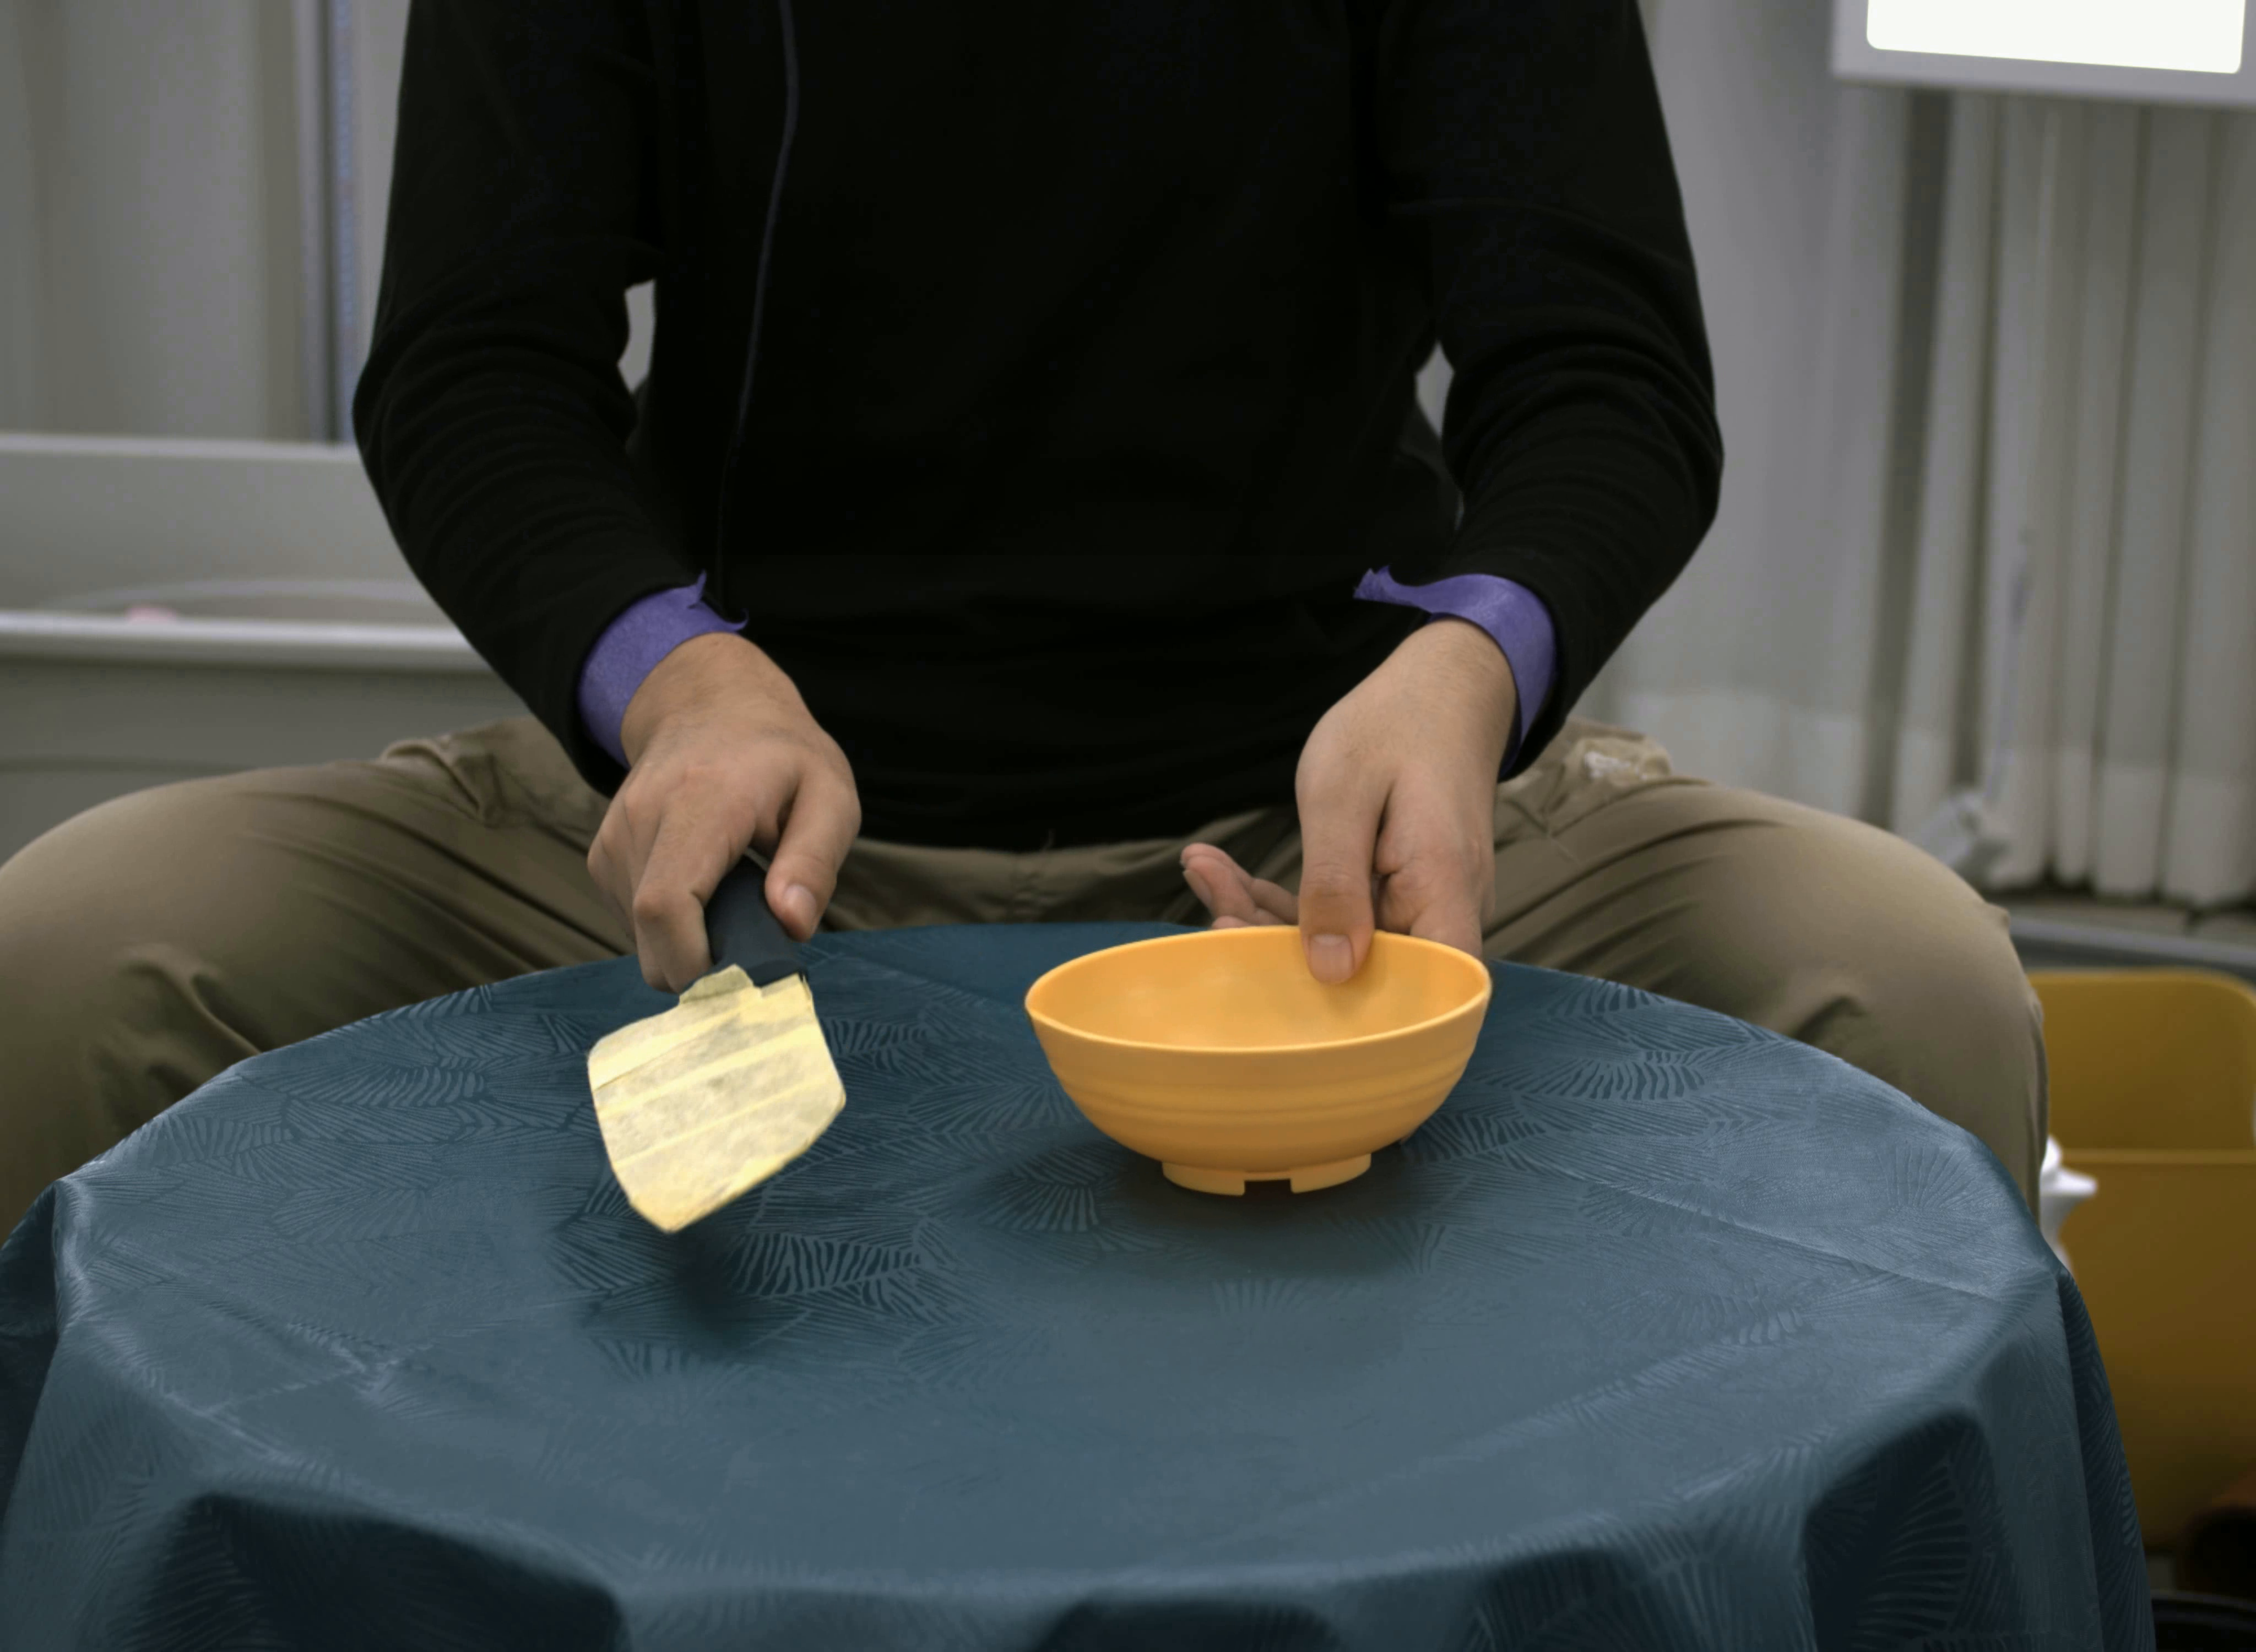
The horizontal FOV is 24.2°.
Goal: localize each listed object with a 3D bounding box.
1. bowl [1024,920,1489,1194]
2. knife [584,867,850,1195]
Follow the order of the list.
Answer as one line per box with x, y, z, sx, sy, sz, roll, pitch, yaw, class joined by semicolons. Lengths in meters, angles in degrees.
0.040;0.076;1.636;0.145;0.060;0.144;0;14;0;bowl
-0.129;0.063;1.621;0.081;0.027;0.287;-19;17;-1;knife
